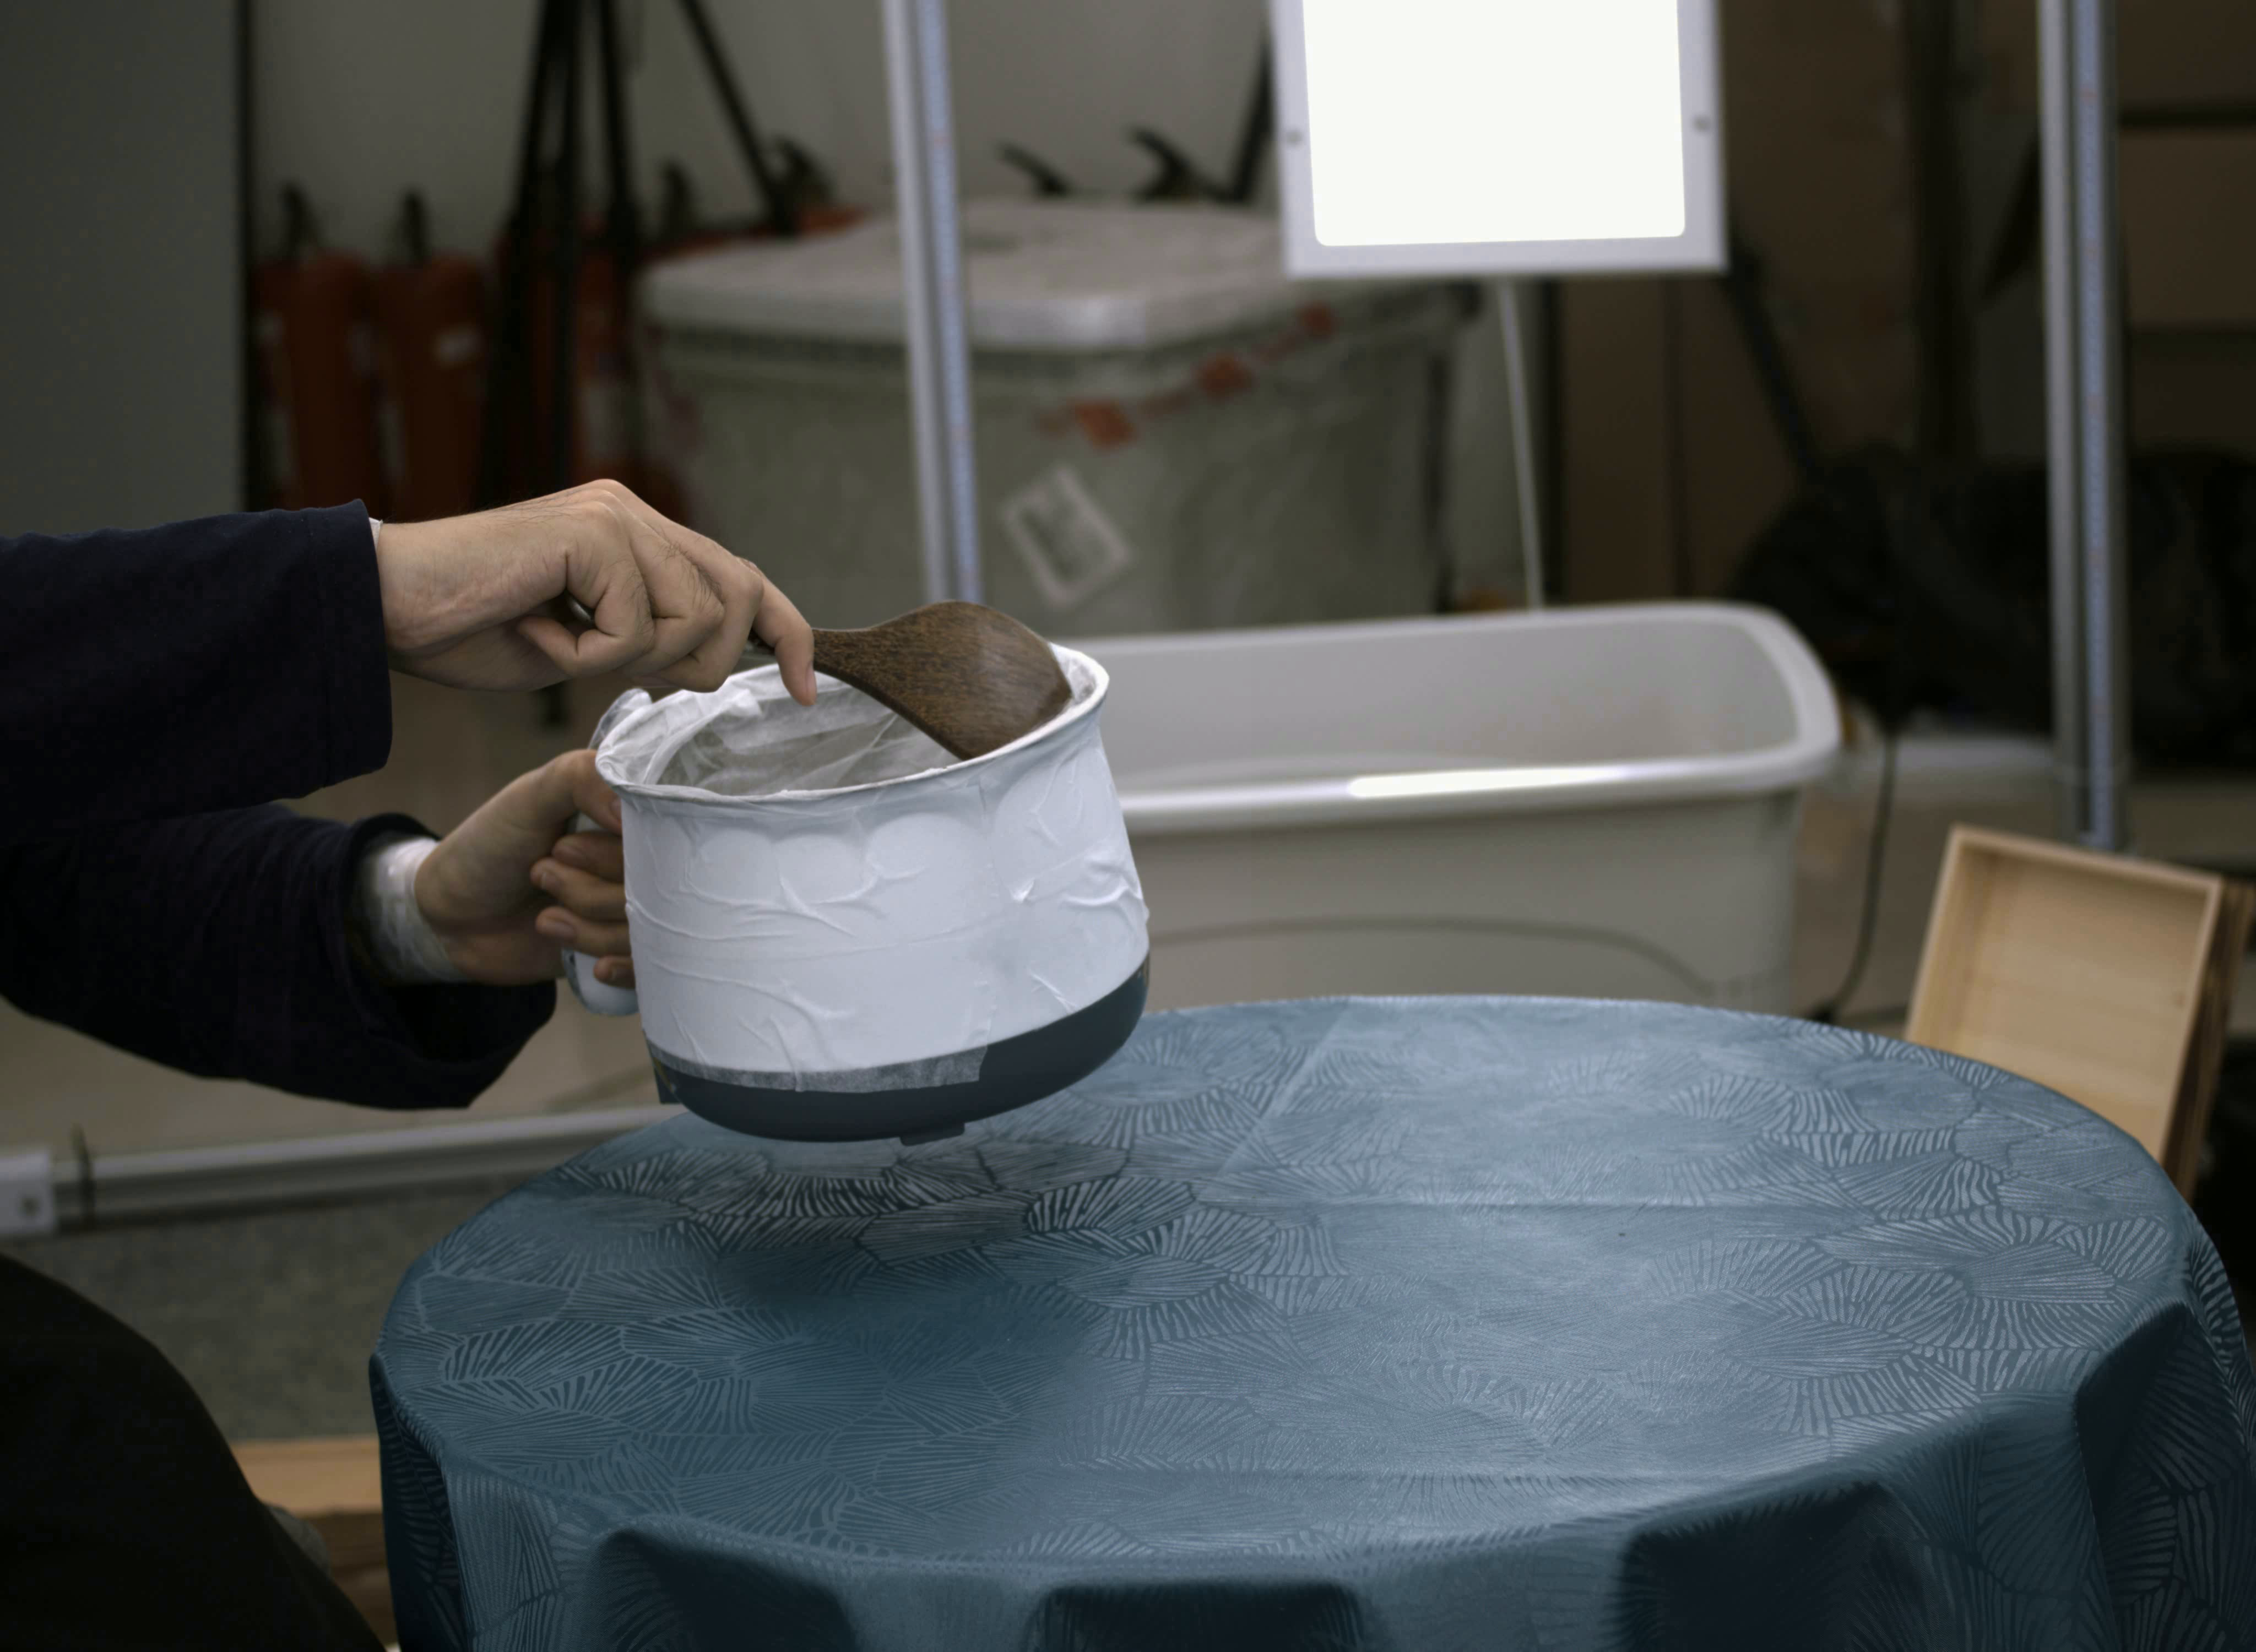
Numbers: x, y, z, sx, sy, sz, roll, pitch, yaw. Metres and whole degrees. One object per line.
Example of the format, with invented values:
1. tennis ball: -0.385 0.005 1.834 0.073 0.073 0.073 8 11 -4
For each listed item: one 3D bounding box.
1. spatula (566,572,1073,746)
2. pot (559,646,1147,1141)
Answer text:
1. spatula: -0.099 -0.057 1.827 0.211 0.072 0.009 13 -41 -37
2. pot: -0.107 0.020 1.908 0.238 0.137 0.174 5 19 36
